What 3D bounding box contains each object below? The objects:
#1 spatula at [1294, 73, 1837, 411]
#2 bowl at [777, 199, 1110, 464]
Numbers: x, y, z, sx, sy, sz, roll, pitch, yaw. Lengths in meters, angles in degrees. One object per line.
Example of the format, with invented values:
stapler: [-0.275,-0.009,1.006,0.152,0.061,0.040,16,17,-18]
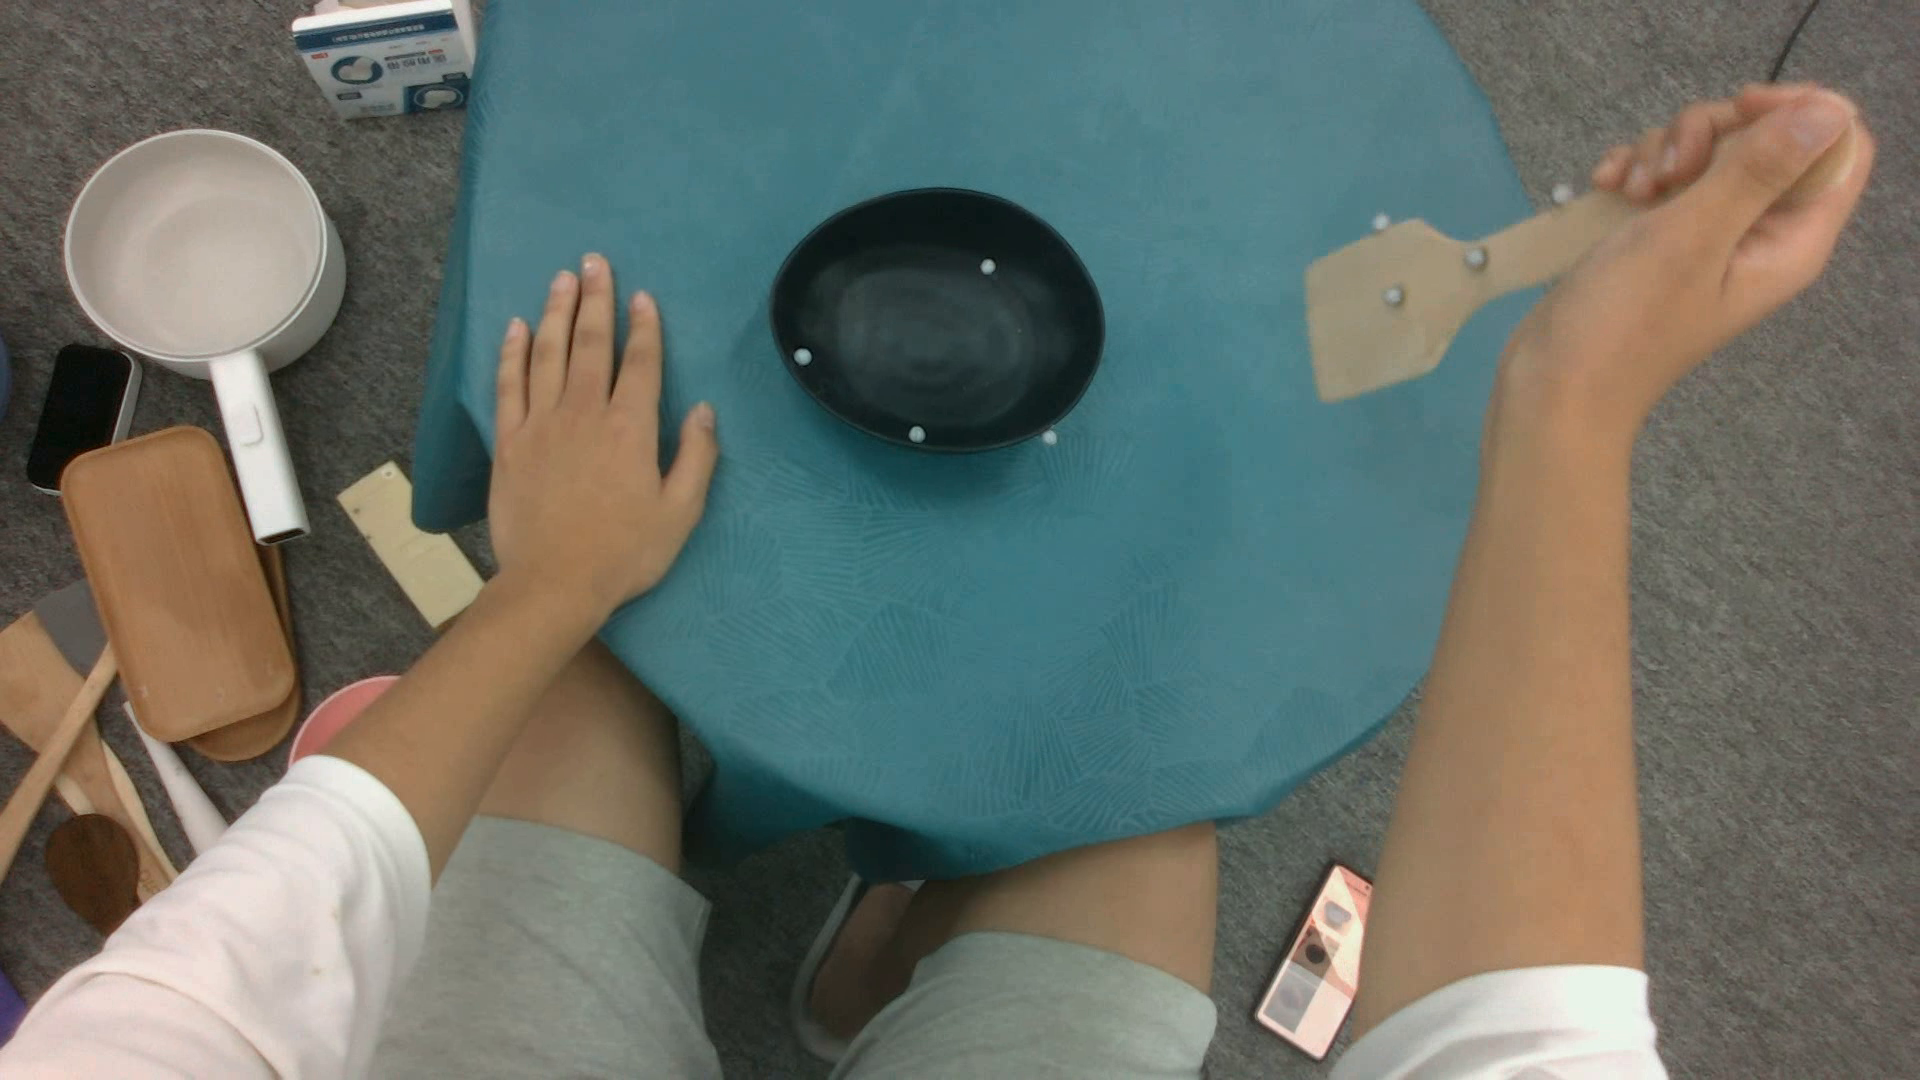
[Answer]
spatula: [0.215,-0.113,0.542,0.011,0.292,0.072,-13,88,-17]
bowl: [-0.010,-0.102,0.722,0.170,0.066,0.137,2,80,-6]
